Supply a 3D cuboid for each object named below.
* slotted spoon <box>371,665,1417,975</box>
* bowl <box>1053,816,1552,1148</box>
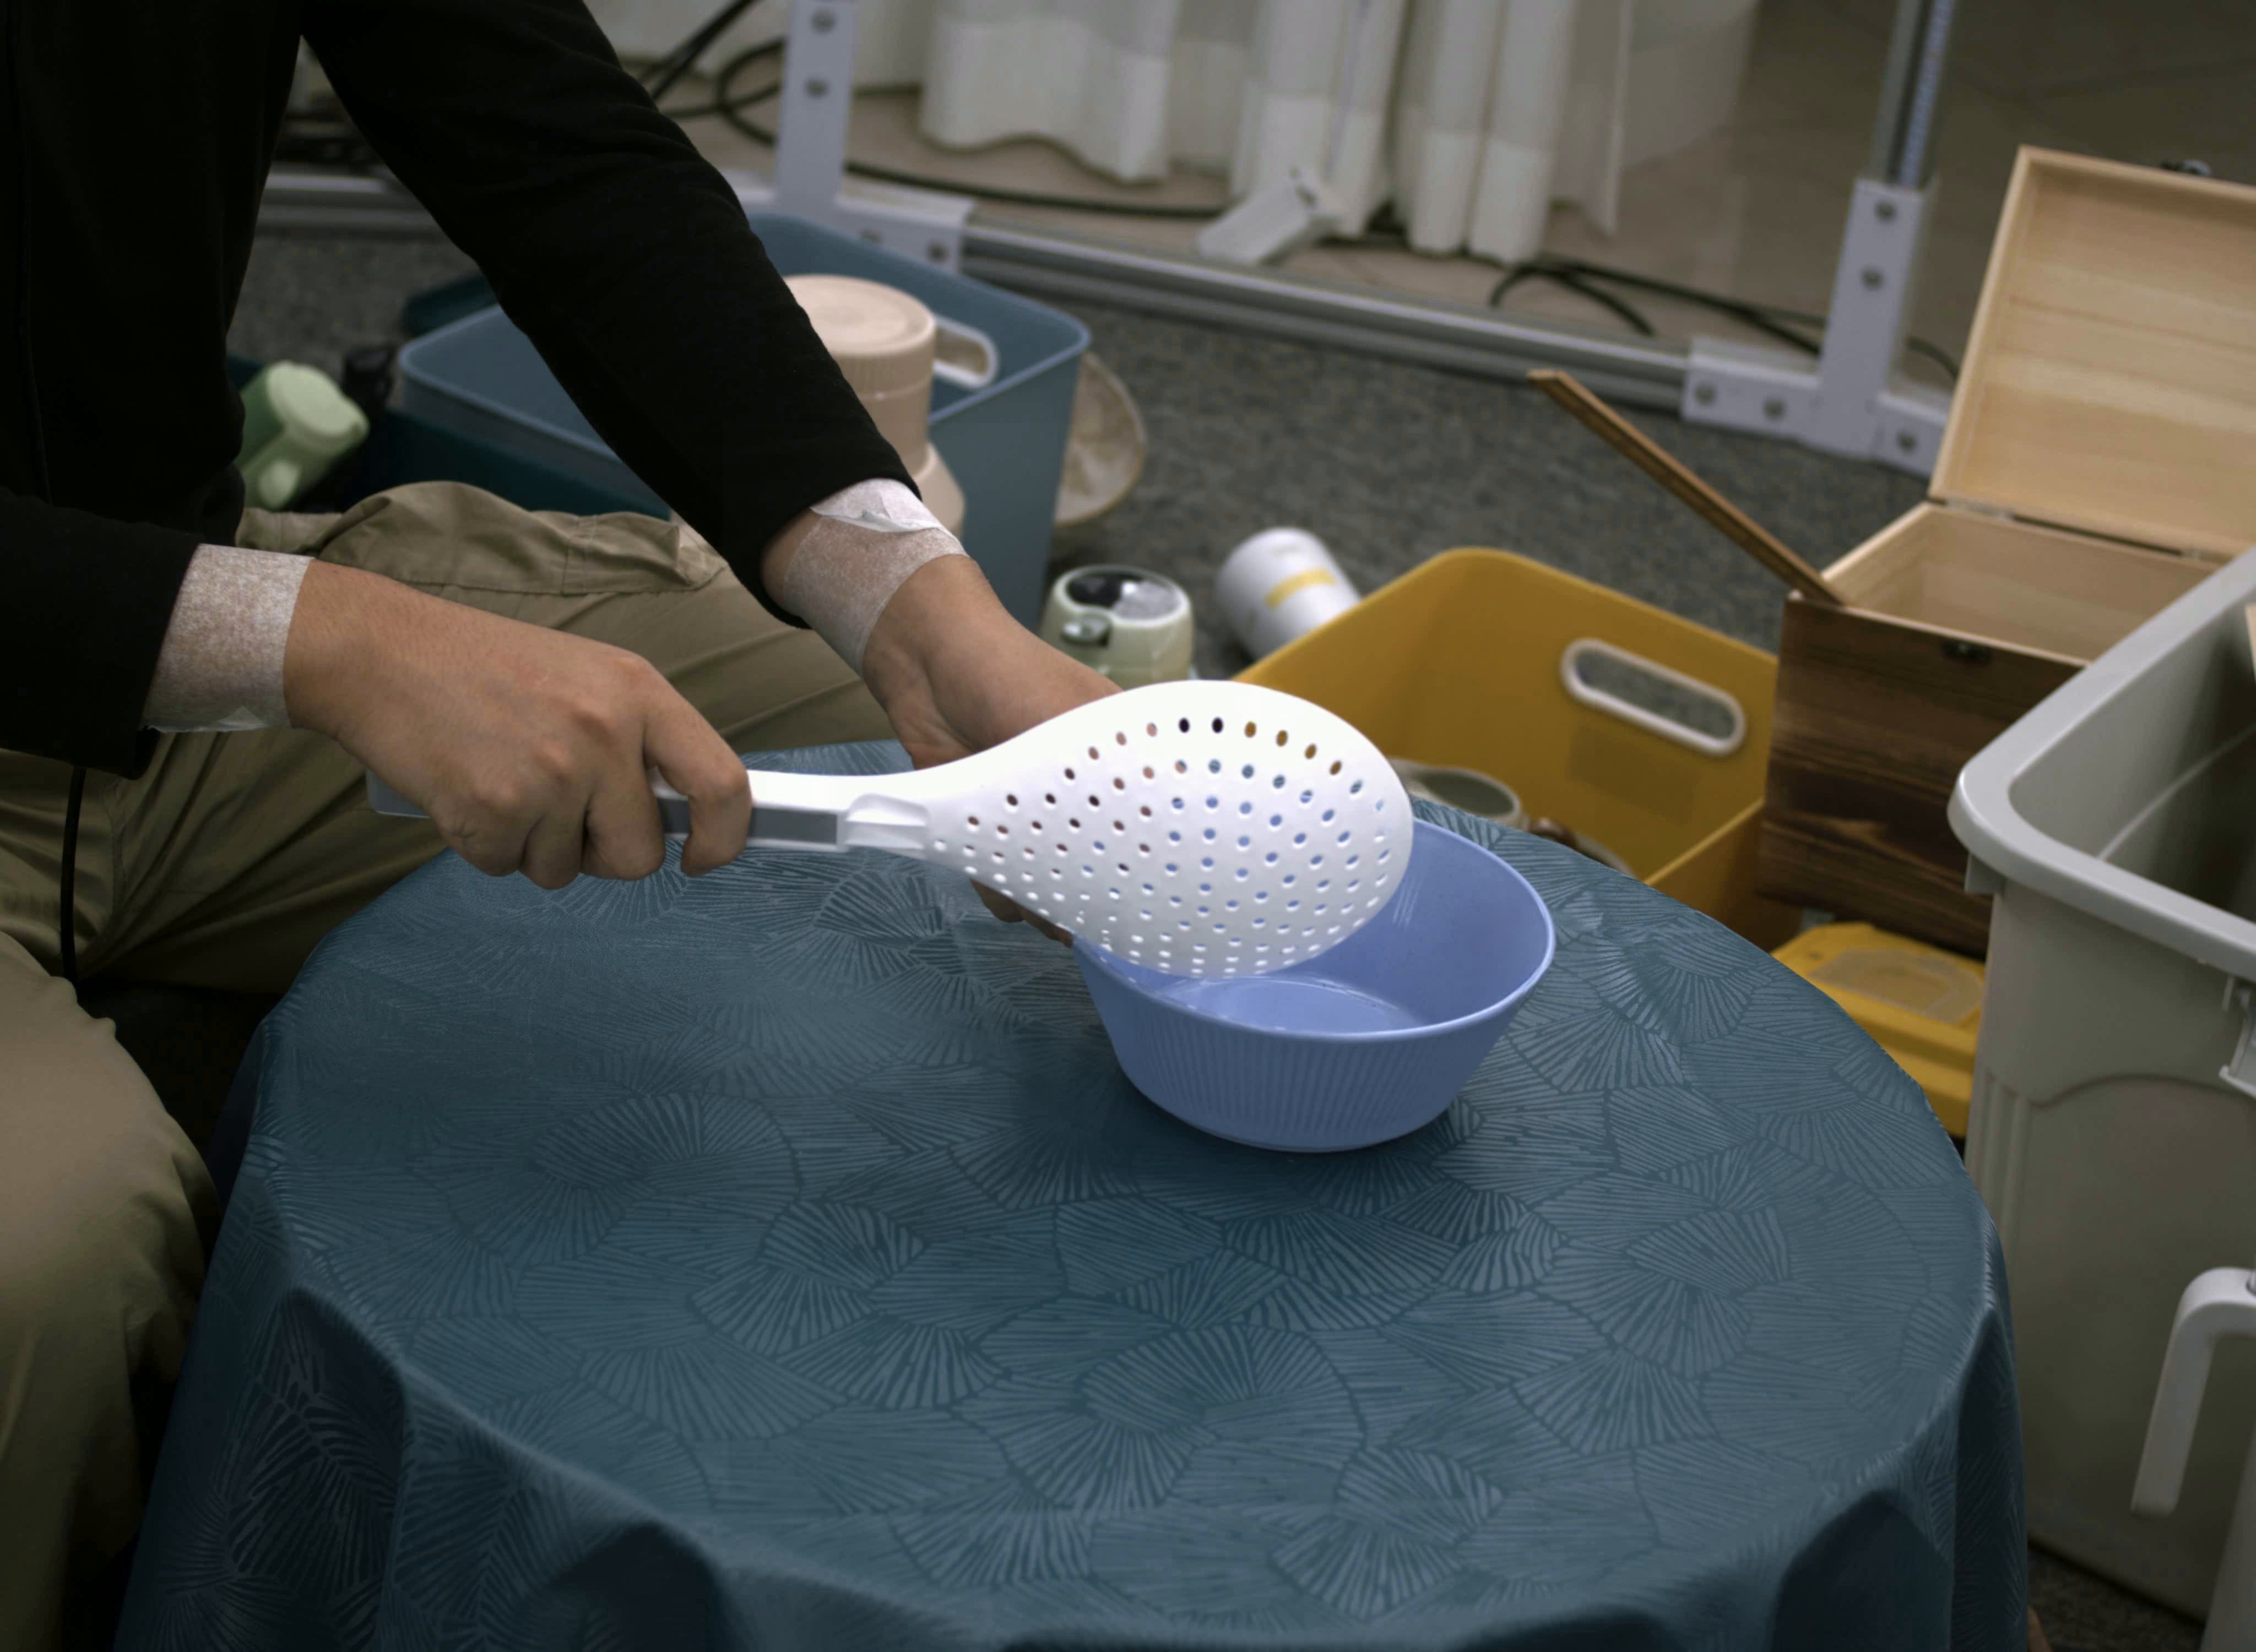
[{"bbox_3d":[-0.079,-0.005,1.781,0.349,0.135,0.046,8,43,4],"label":"slotted spoon"},{"bbox_3d":[0.058,0.057,1.867,0.175,0.070,0.177,4,26,-2],"label":"bowl"}]
